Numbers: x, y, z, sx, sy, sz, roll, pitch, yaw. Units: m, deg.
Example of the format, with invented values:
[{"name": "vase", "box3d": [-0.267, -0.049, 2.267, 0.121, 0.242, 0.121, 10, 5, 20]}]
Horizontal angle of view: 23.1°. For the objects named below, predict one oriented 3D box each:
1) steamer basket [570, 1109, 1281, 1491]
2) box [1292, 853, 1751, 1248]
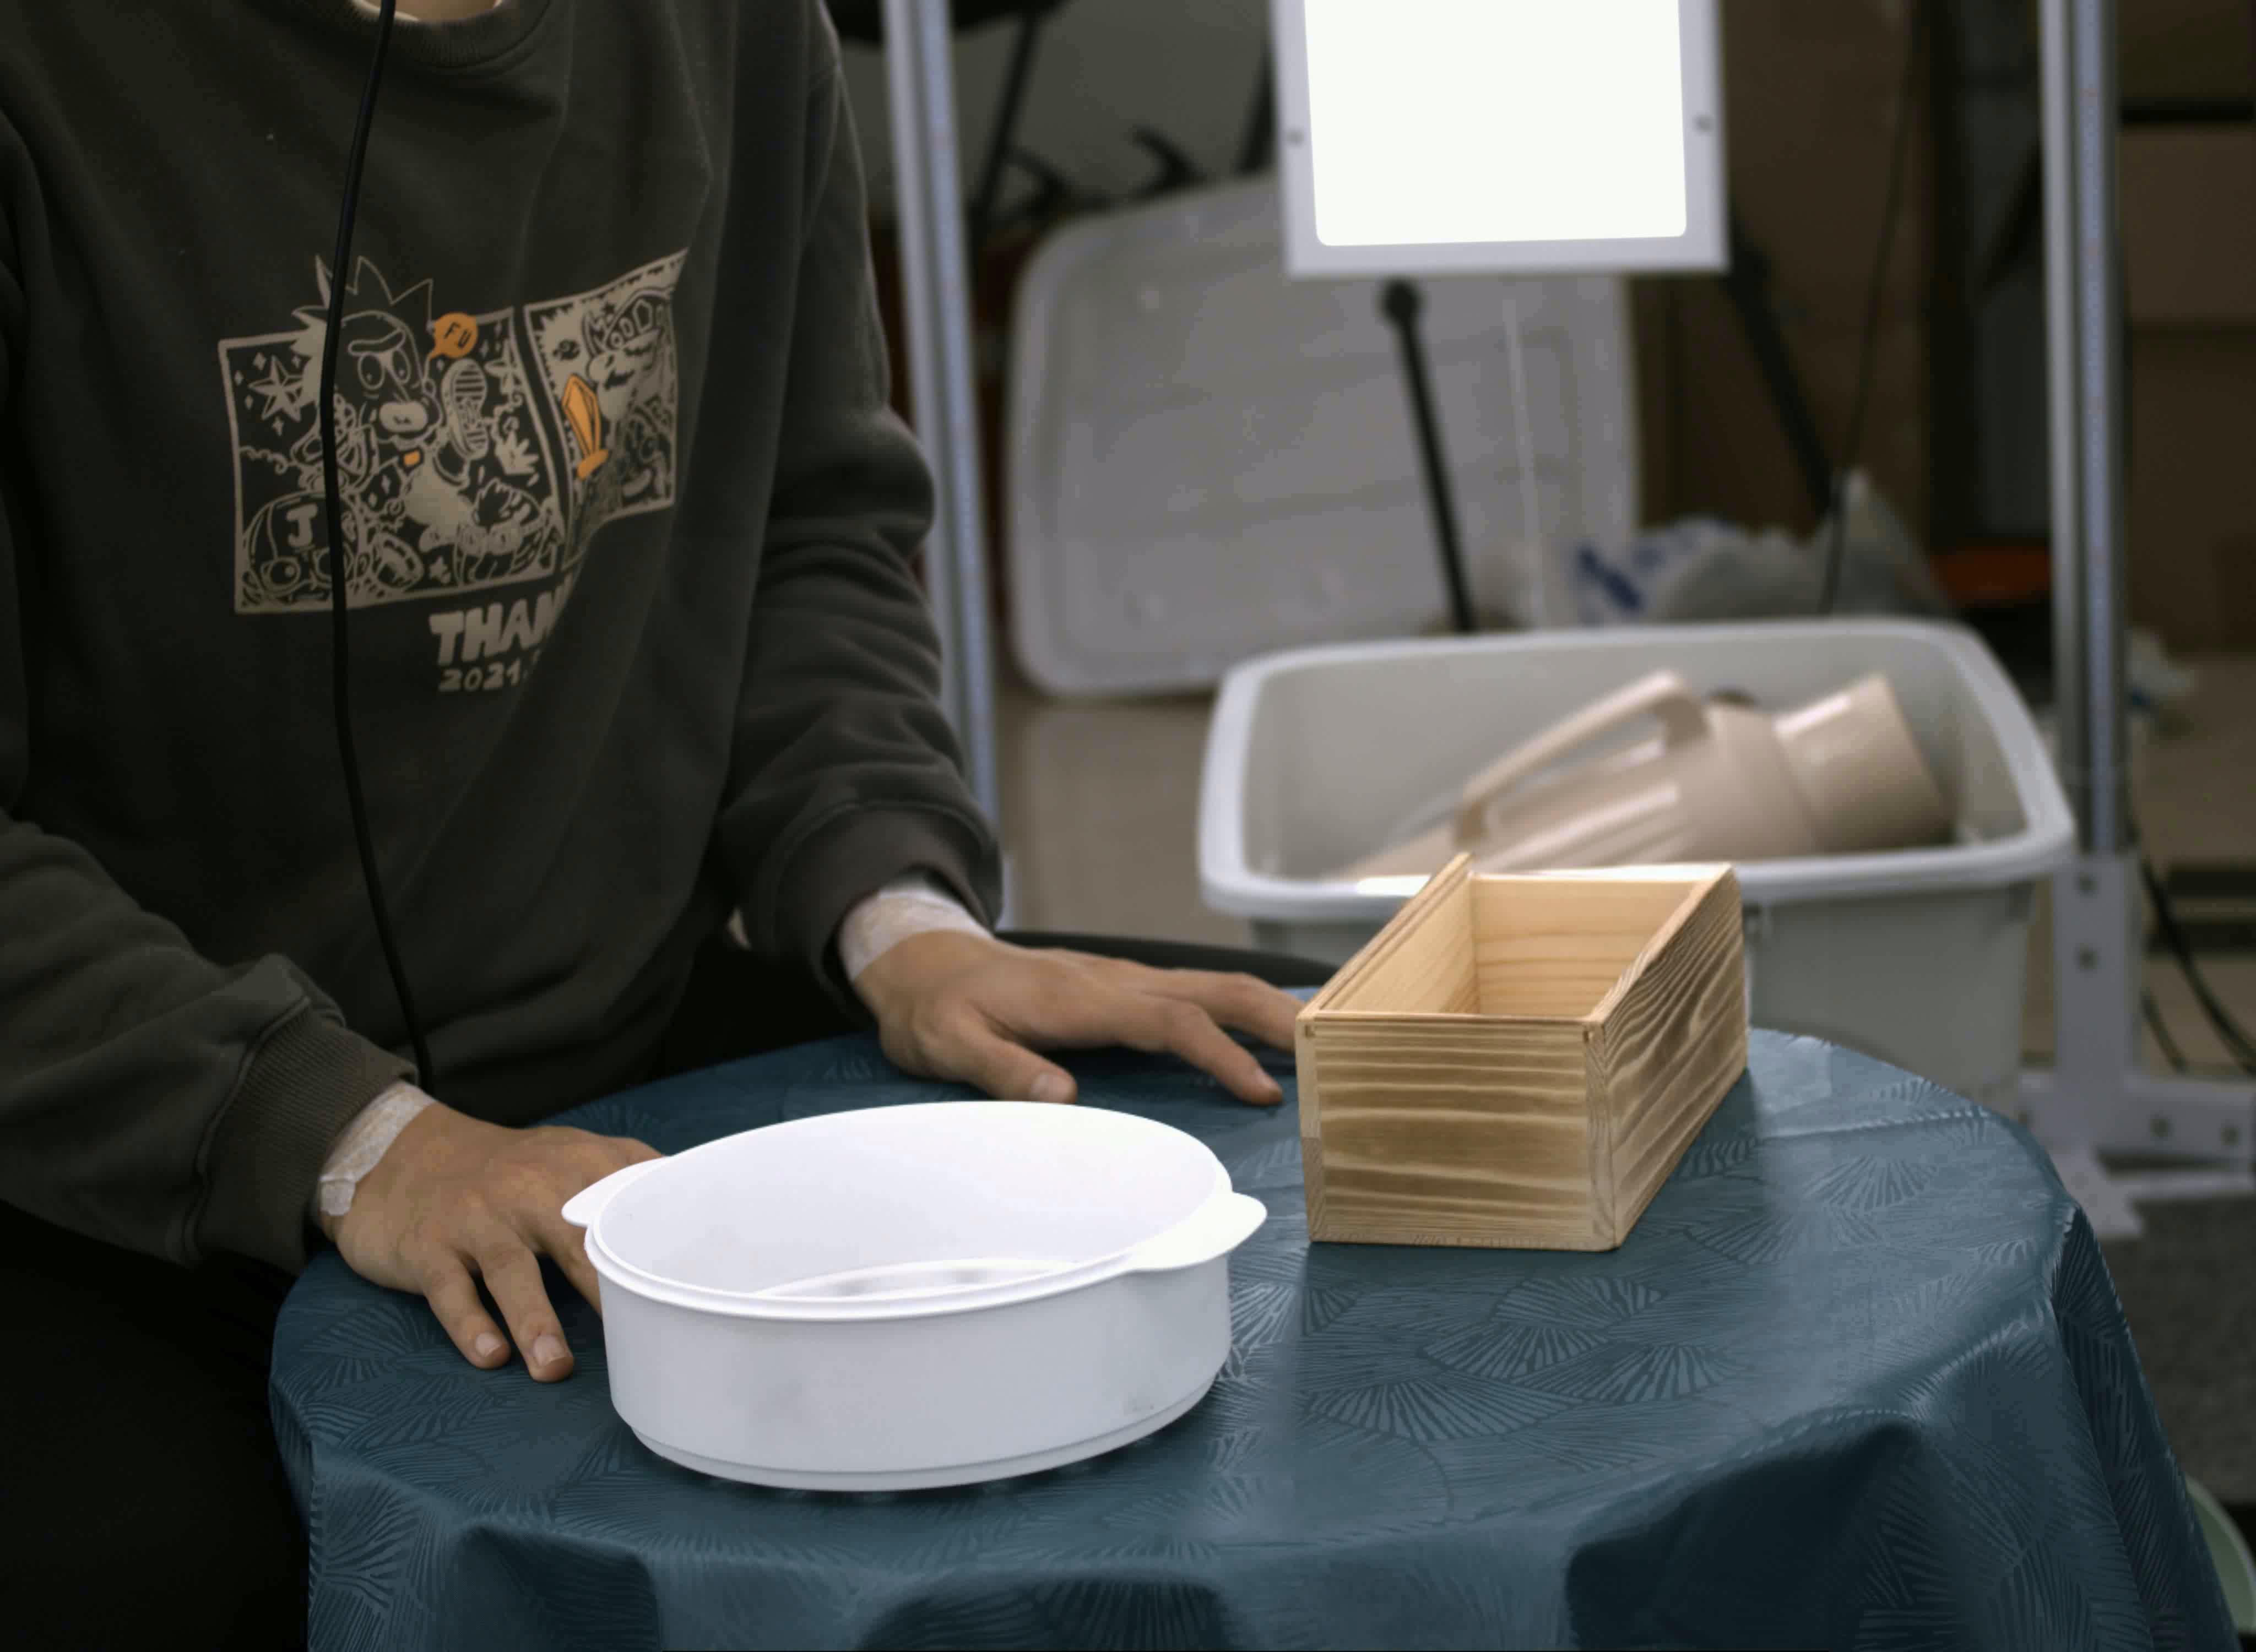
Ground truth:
[{"name": "steamer basket", "box3d": [-0.062, 0.145, 1.701, 0.234, 0.069, 0.197, 1, 14, 27]}, {"name": "box", "box3d": [0.139, 0.074, 1.890, 0.109, 0.080, 0.208, -1, 14, 19]}]
